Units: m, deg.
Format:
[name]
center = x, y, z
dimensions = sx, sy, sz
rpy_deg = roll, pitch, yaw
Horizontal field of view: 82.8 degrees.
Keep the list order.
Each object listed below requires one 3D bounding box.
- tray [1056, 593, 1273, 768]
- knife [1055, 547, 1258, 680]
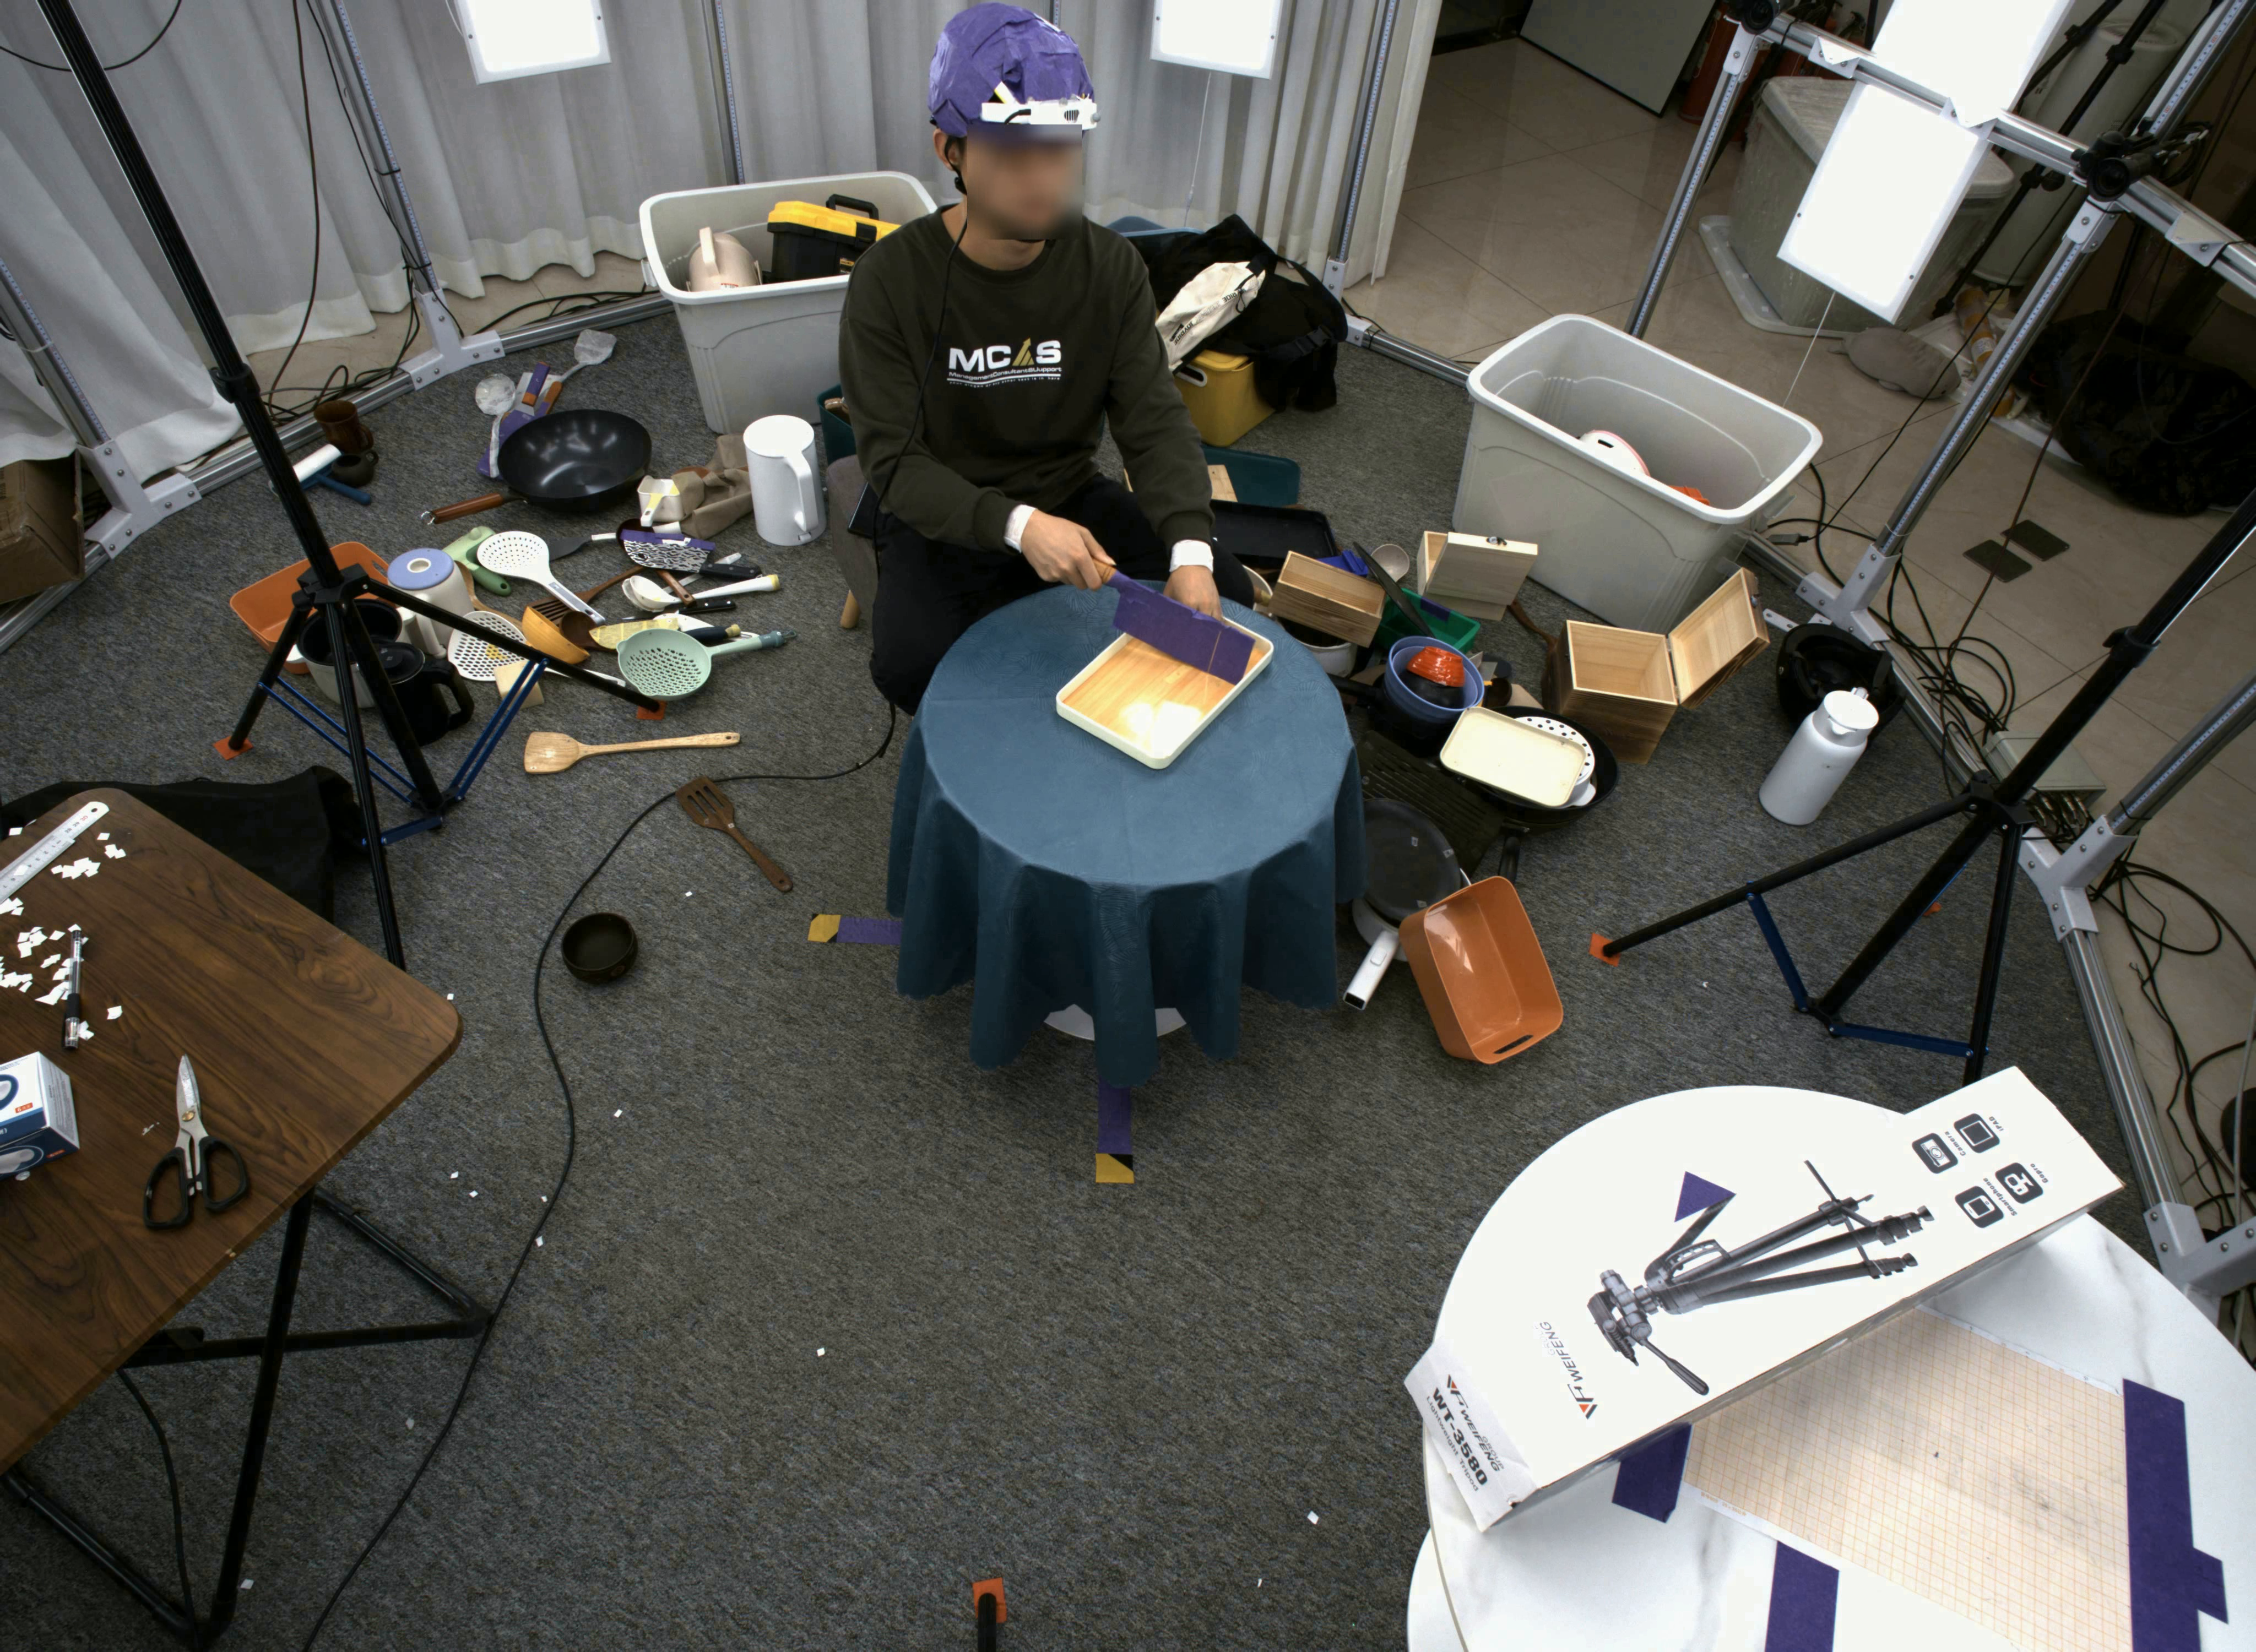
[tray]
center = 0.055, -0.215, 1.839
dimensions = 0.193, 0.027, 0.304
rpy_deg = 30, 54, 20
[knife]
center = 0.032, -0.299, 1.840
dimensions = 0.317, 0.101, 0.033
rpy_deg = 28, 43, 12
